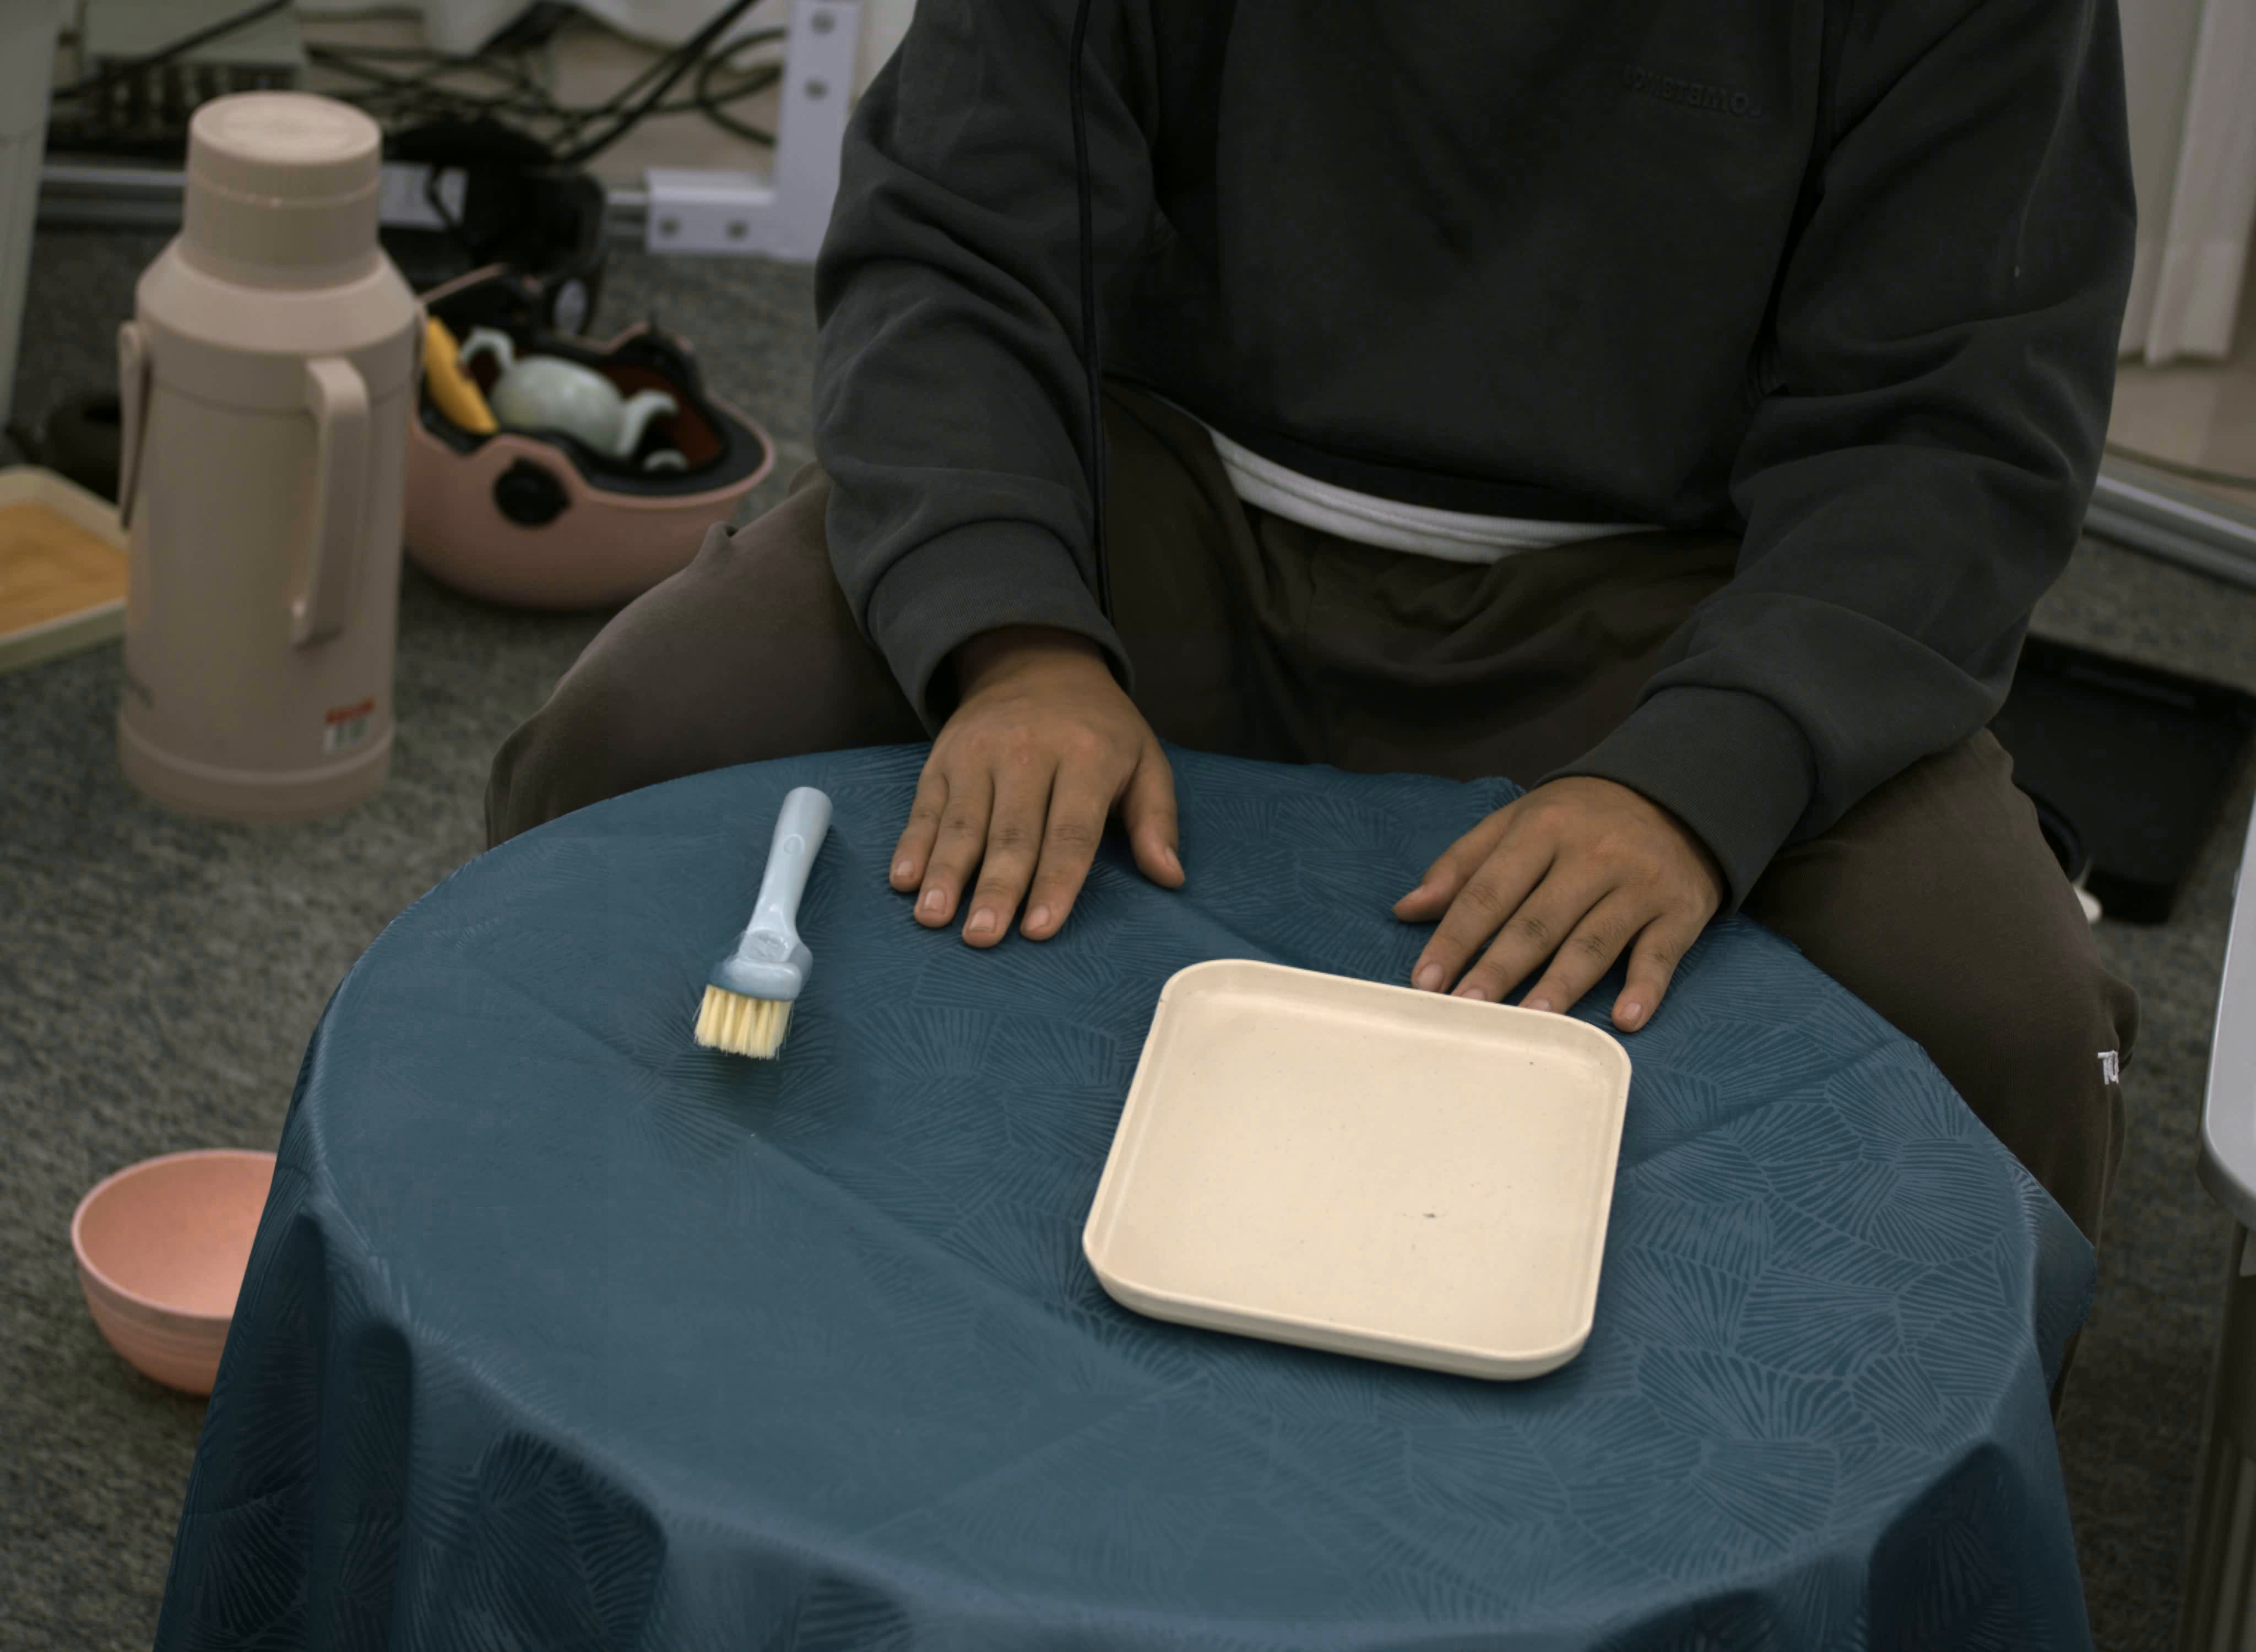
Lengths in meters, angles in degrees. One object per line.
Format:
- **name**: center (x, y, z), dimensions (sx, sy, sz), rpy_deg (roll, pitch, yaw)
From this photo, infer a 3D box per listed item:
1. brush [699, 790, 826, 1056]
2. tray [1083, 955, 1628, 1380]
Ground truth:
- **brush**: center (-0.129, 0.035, 1.917), dimensions (0.037, 0.049, 0.229), rpy_deg (13, 18, -3)
- **tray**: center (0.081, 0.115, 1.821), dimensions (0.171, 0.017, 0.240), rpy_deg (10, 27, 5)
